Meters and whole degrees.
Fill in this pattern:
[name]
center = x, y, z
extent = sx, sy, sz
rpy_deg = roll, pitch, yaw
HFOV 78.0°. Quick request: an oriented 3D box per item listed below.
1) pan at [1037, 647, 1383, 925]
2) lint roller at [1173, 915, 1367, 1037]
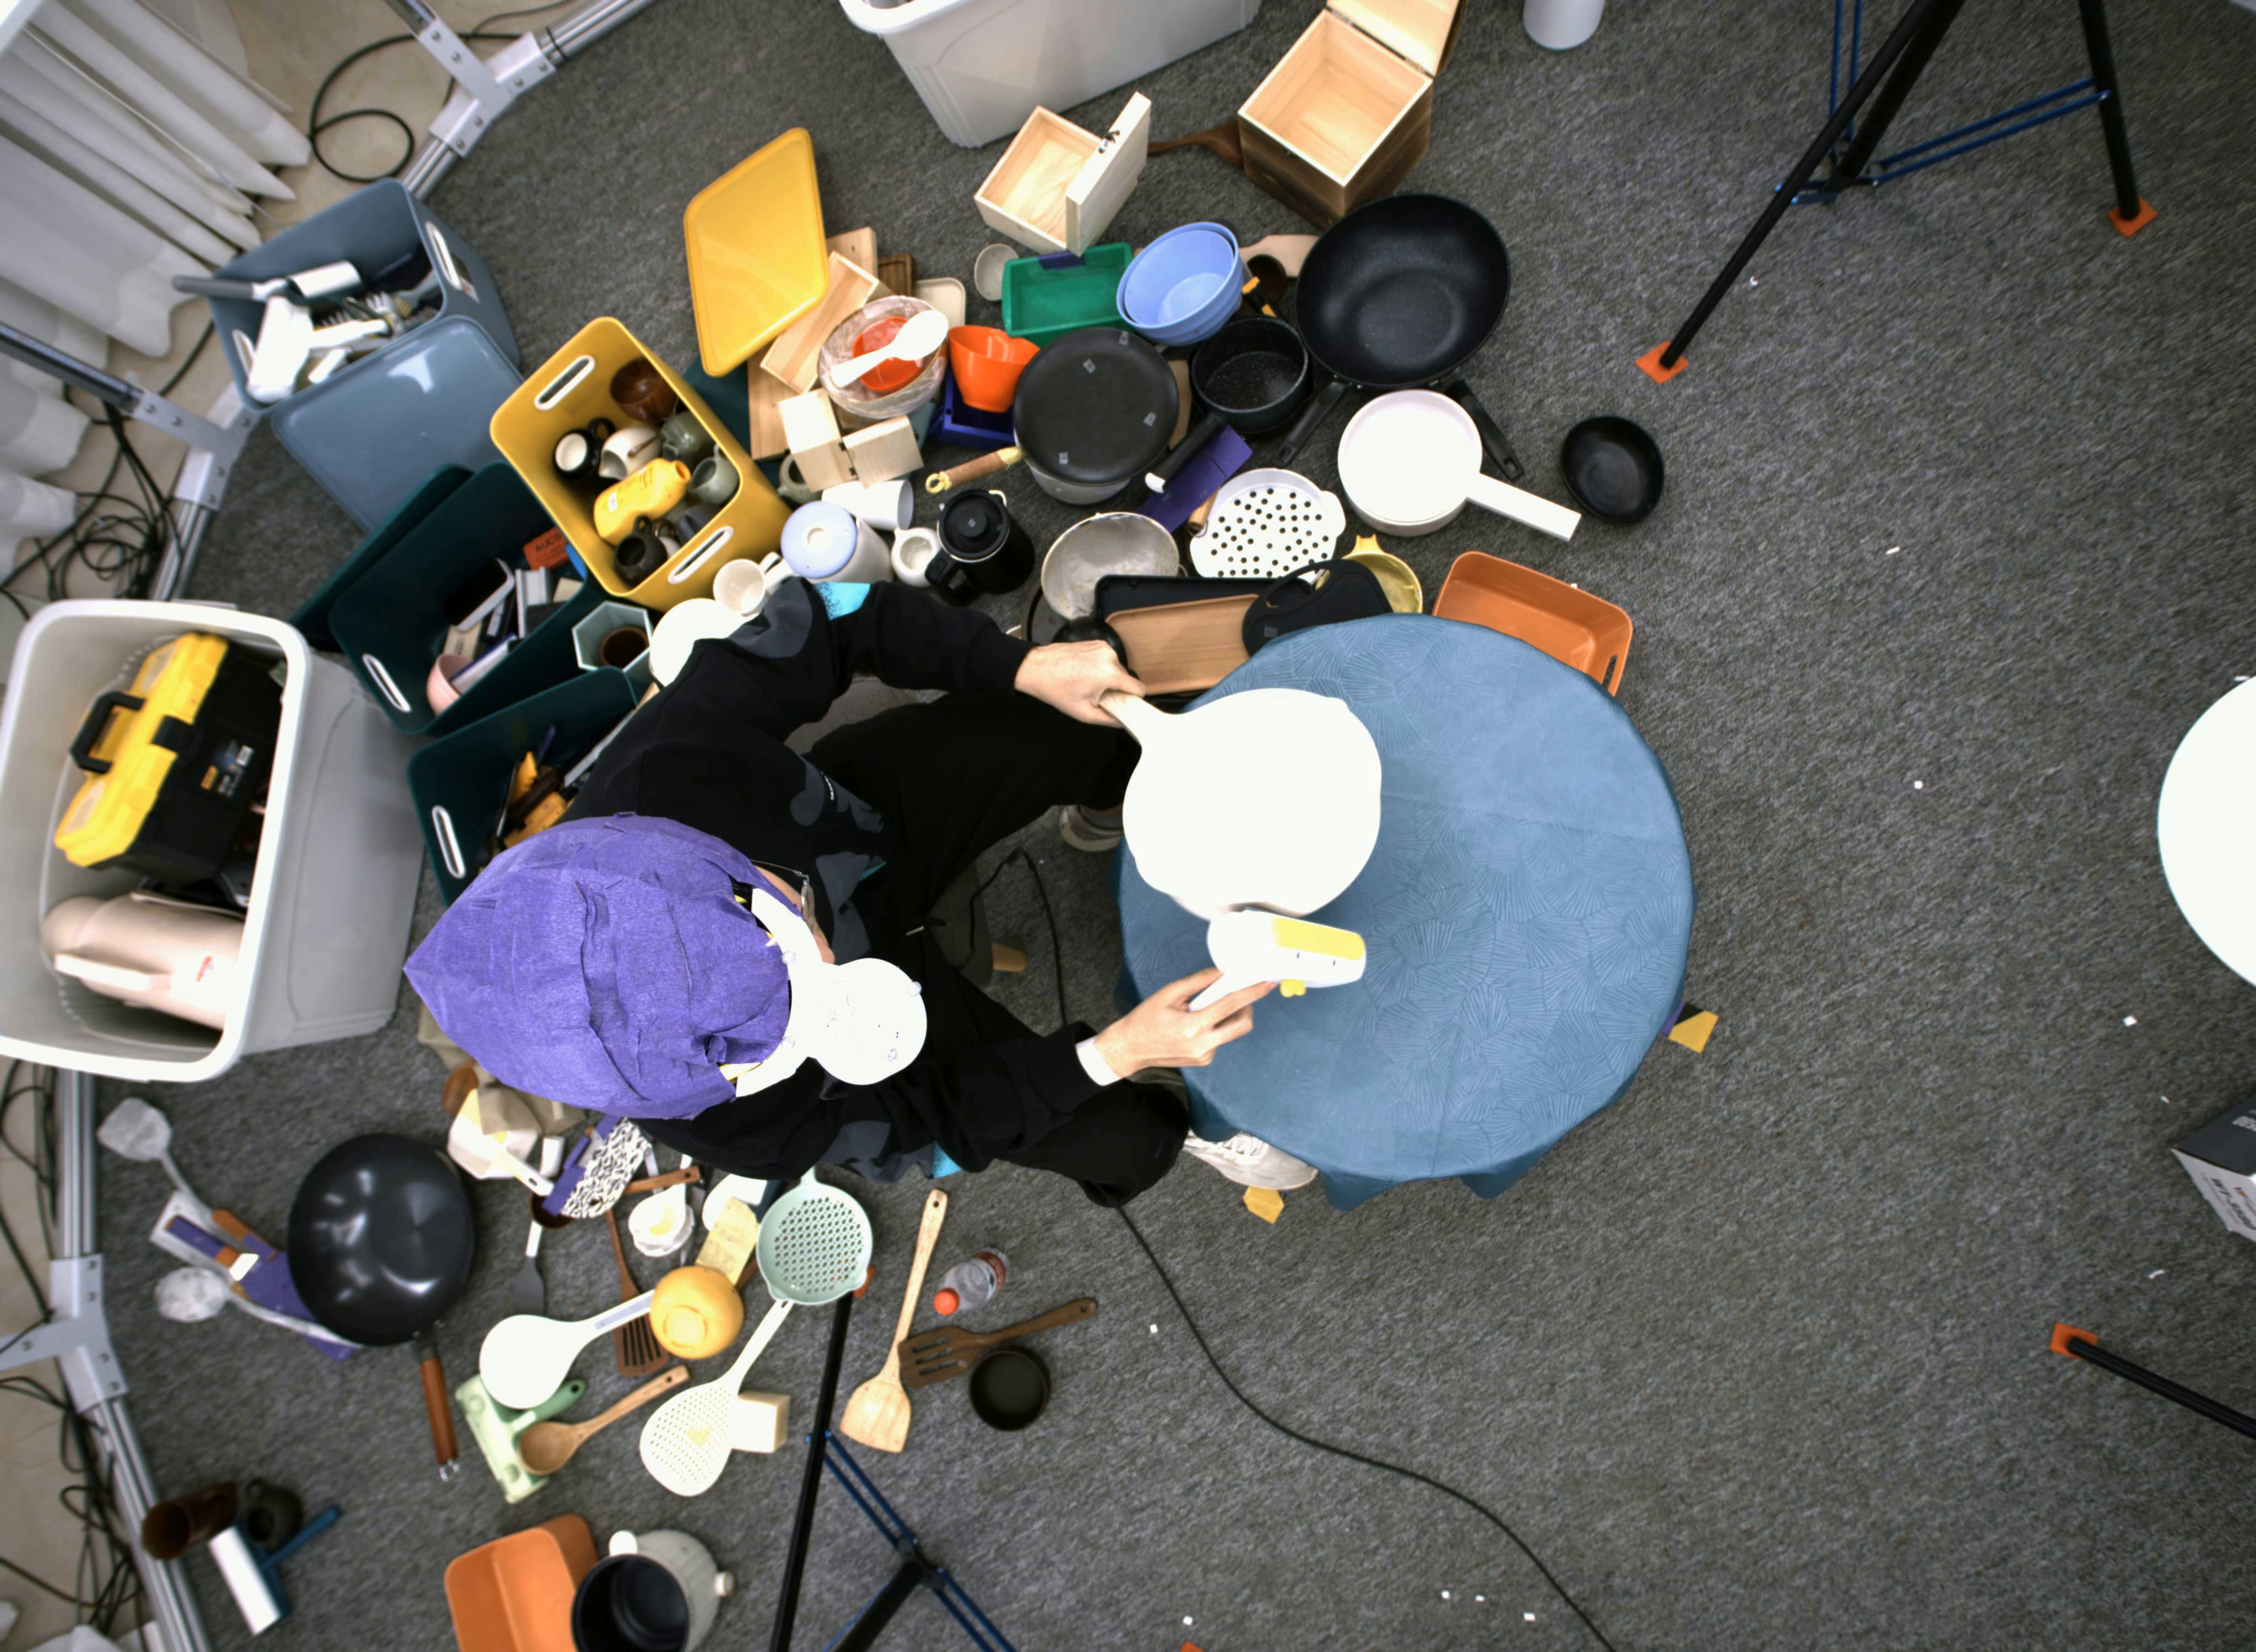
[pan]
center = 0.066, -0.061, 1.388
extent = 0.261, 0.104, 0.431
rpy_deg = -46, 53, -9
[lint roller]
center = 0.111, 0.144, 1.317
extent = 0.196, 0.192, 0.073
rpy_deg = -30, 67, 40
